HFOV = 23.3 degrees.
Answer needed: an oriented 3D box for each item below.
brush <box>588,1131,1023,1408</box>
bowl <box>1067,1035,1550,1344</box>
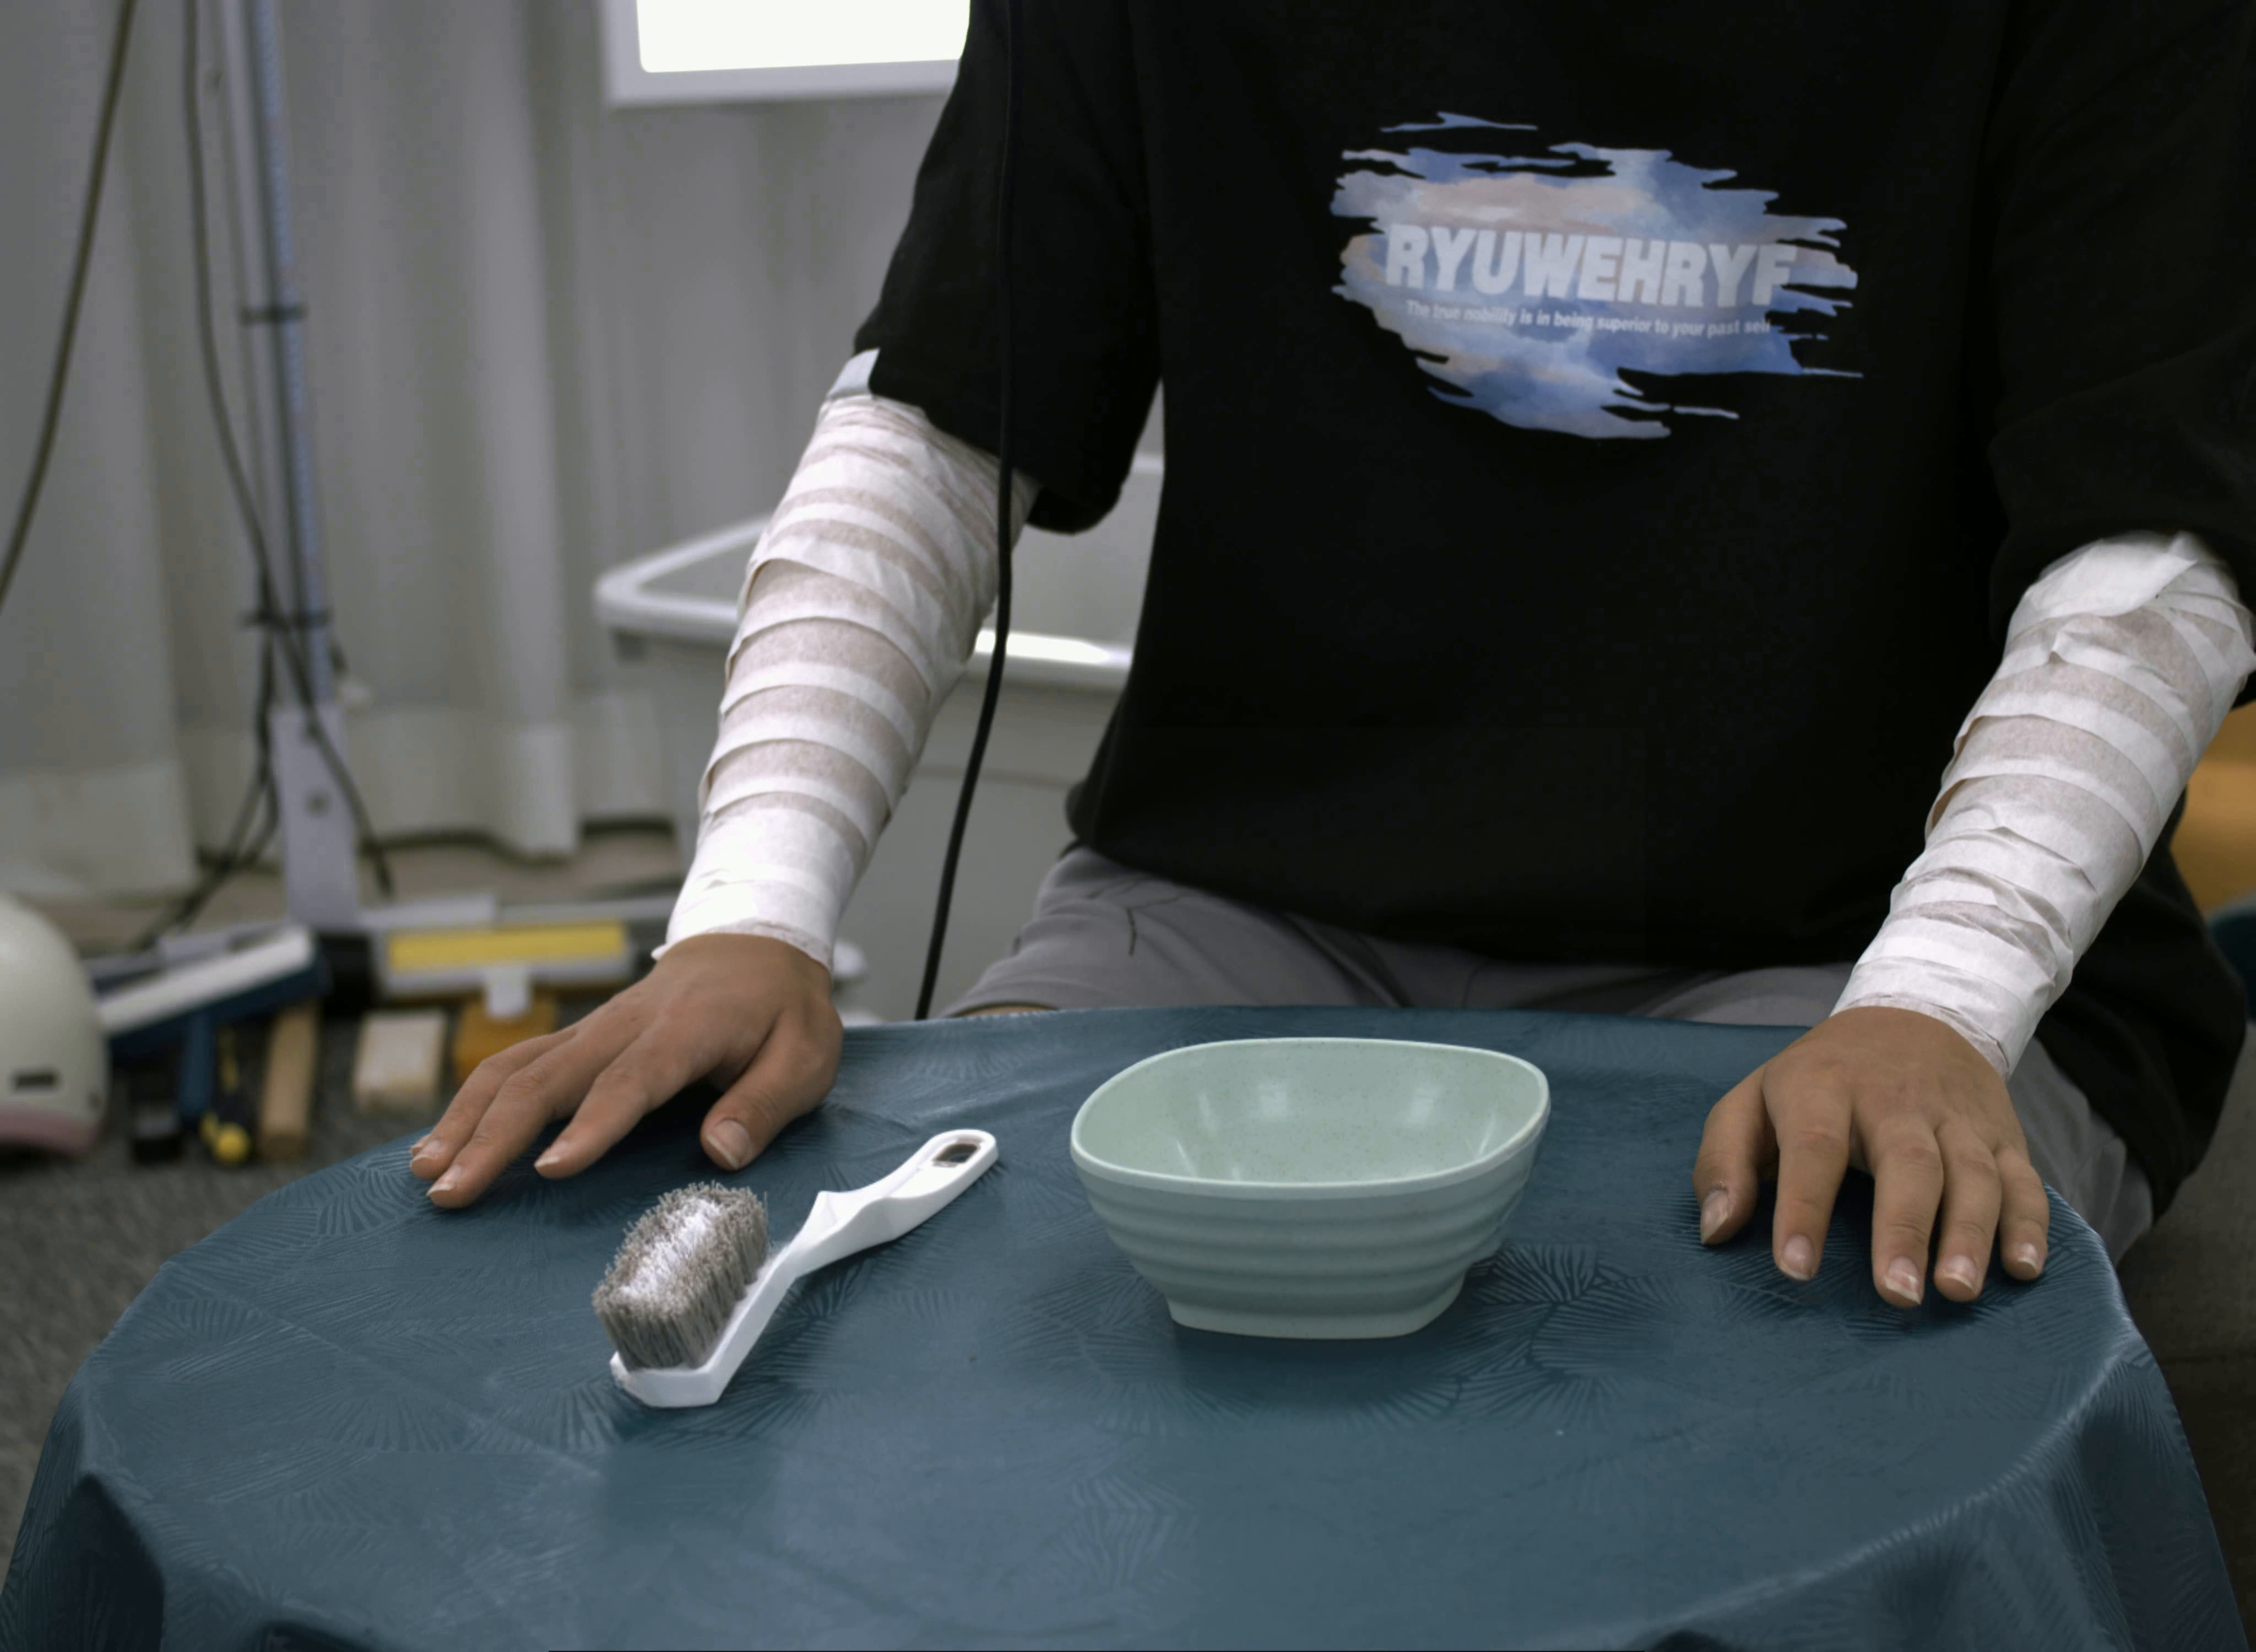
[{"bbox_3d":[-0.091,0.113,1.639,0.034,0.050,0.244,1,15,24],"label":"brush"},{"bbox_3d":[0.054,0.110,1.610,0.151,0.058,0.152,-2,15,0],"label":"bowl"}]
